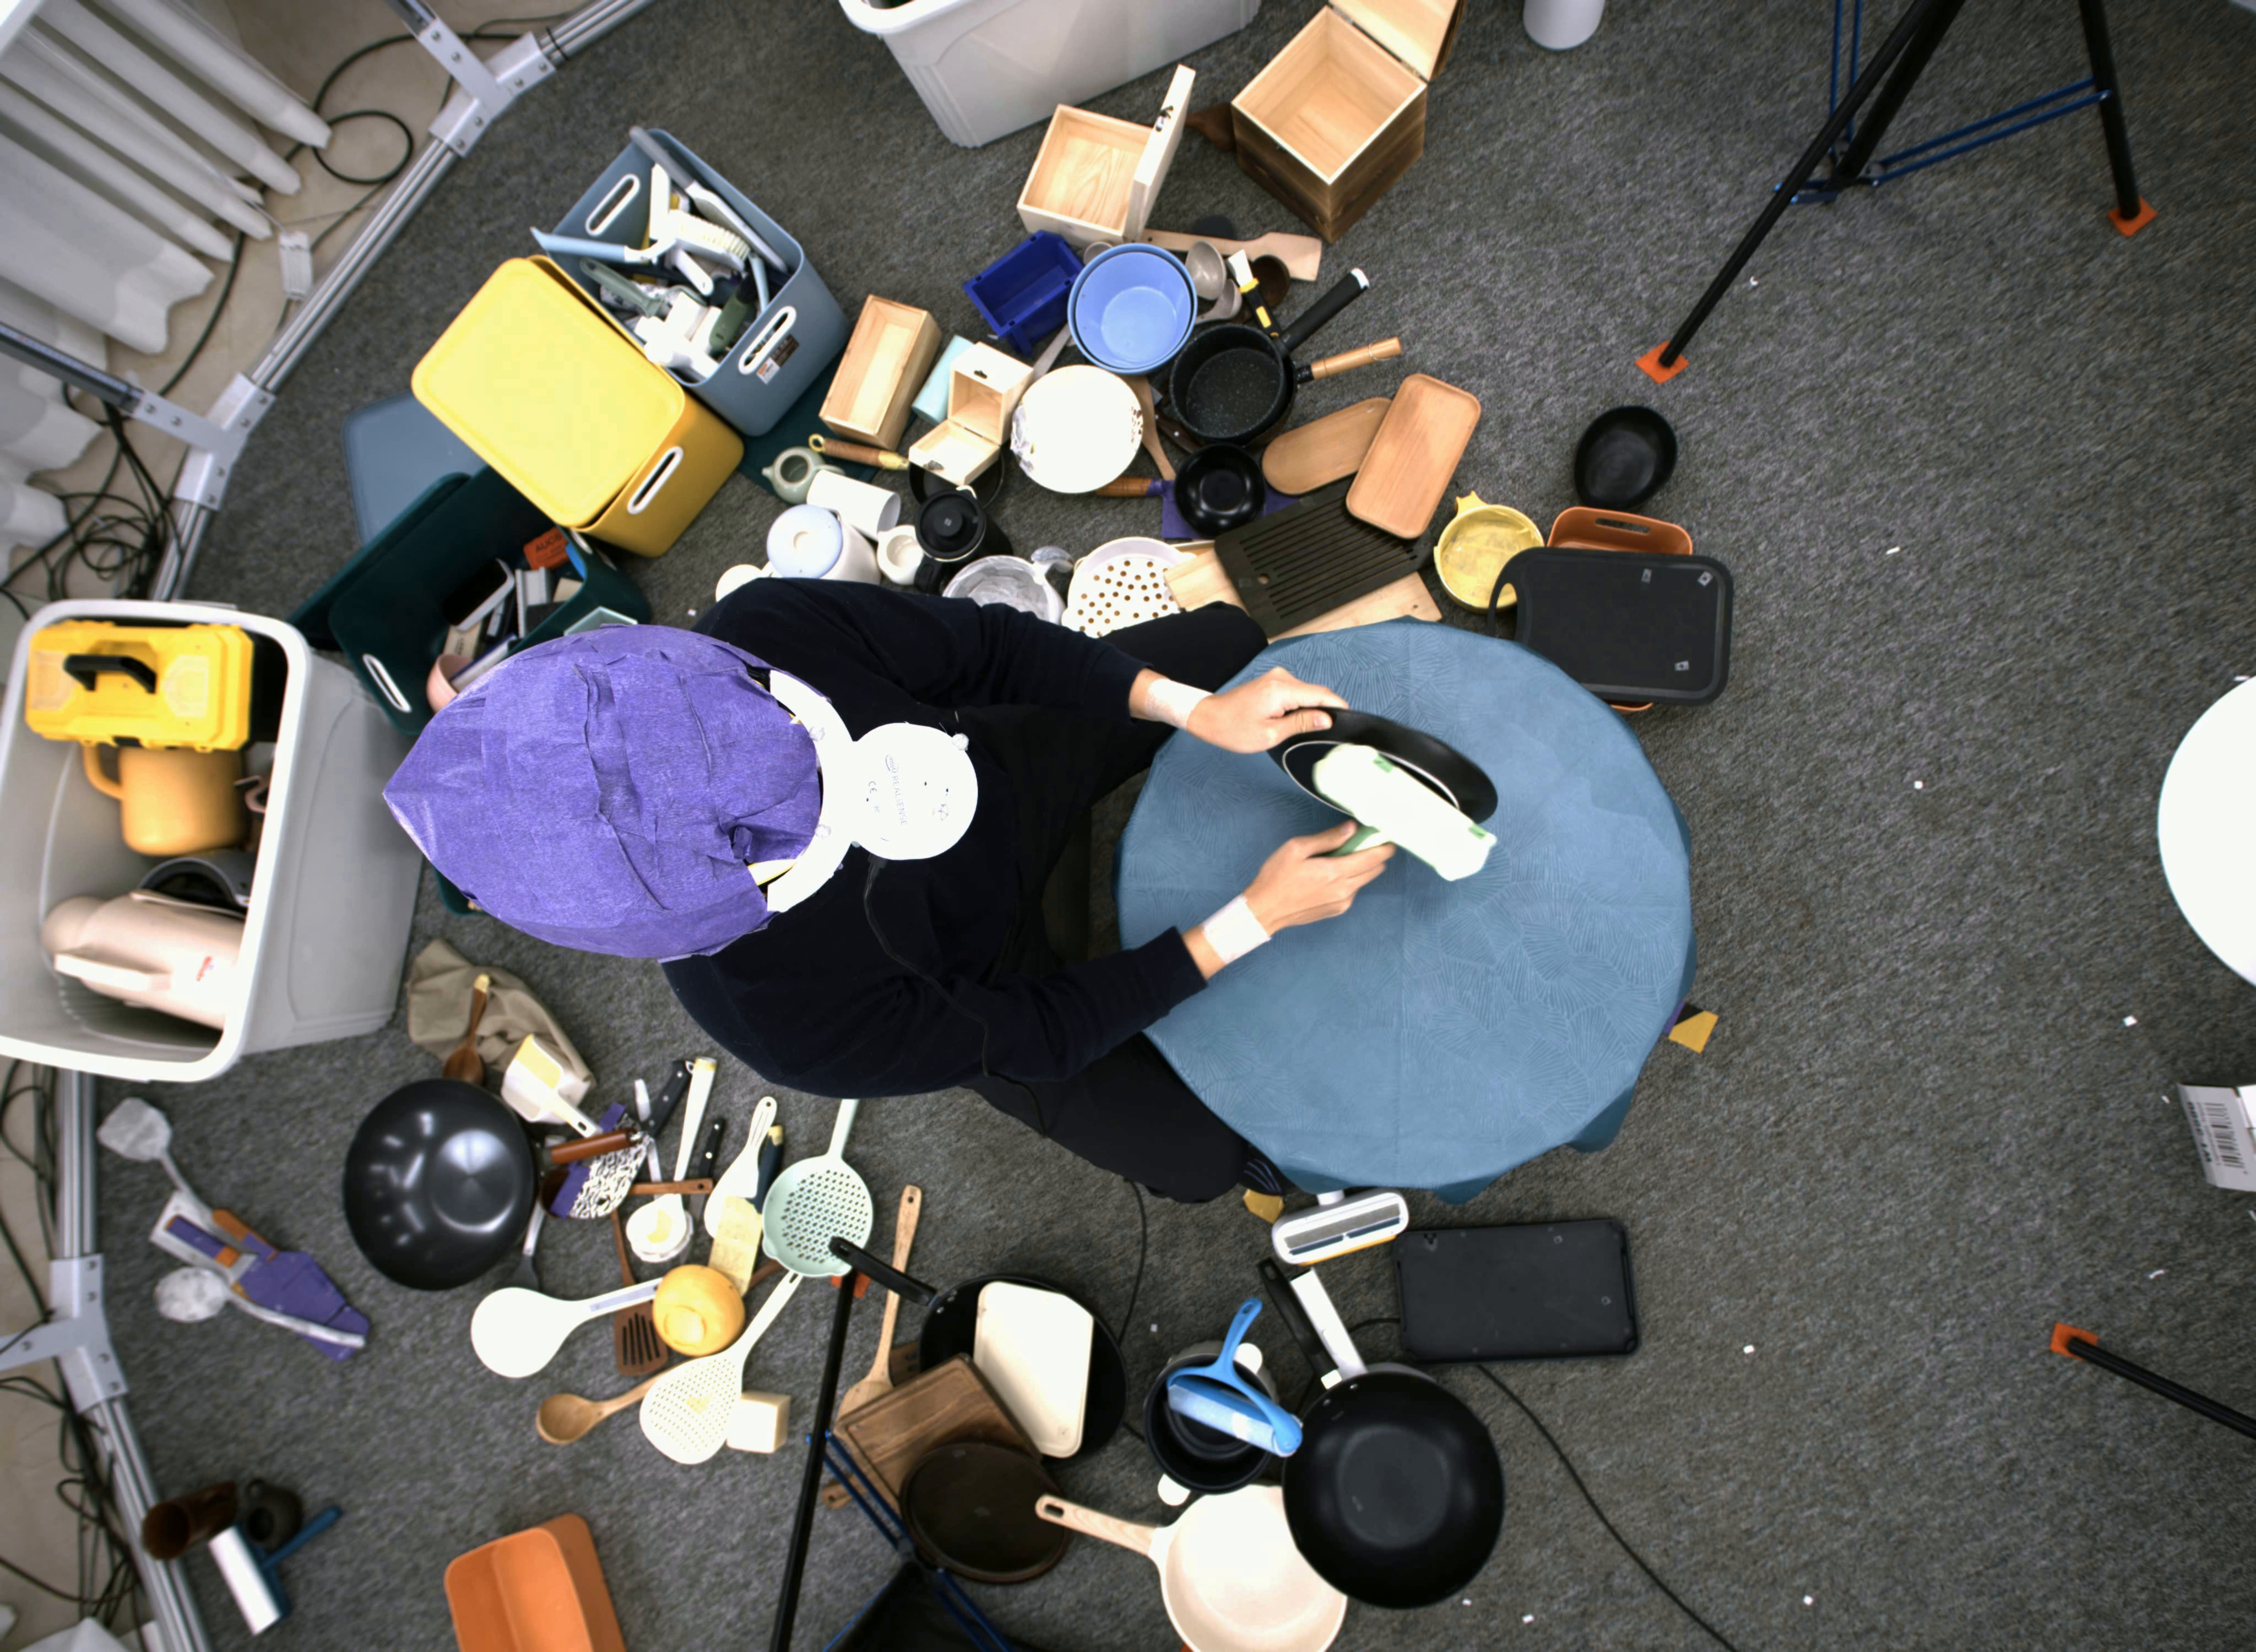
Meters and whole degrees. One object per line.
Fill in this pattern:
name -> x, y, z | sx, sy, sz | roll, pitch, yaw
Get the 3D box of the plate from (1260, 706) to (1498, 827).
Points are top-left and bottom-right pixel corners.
plate -> 0.241, -0.047, 1.350 | 0.244, 0.248, 0.023 | 20, 74, 11

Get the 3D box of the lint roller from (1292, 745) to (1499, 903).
lint roller -> 0.229, 0.029, 1.319 | 0.200, 0.080, 0.186 | 30, 117, -28
